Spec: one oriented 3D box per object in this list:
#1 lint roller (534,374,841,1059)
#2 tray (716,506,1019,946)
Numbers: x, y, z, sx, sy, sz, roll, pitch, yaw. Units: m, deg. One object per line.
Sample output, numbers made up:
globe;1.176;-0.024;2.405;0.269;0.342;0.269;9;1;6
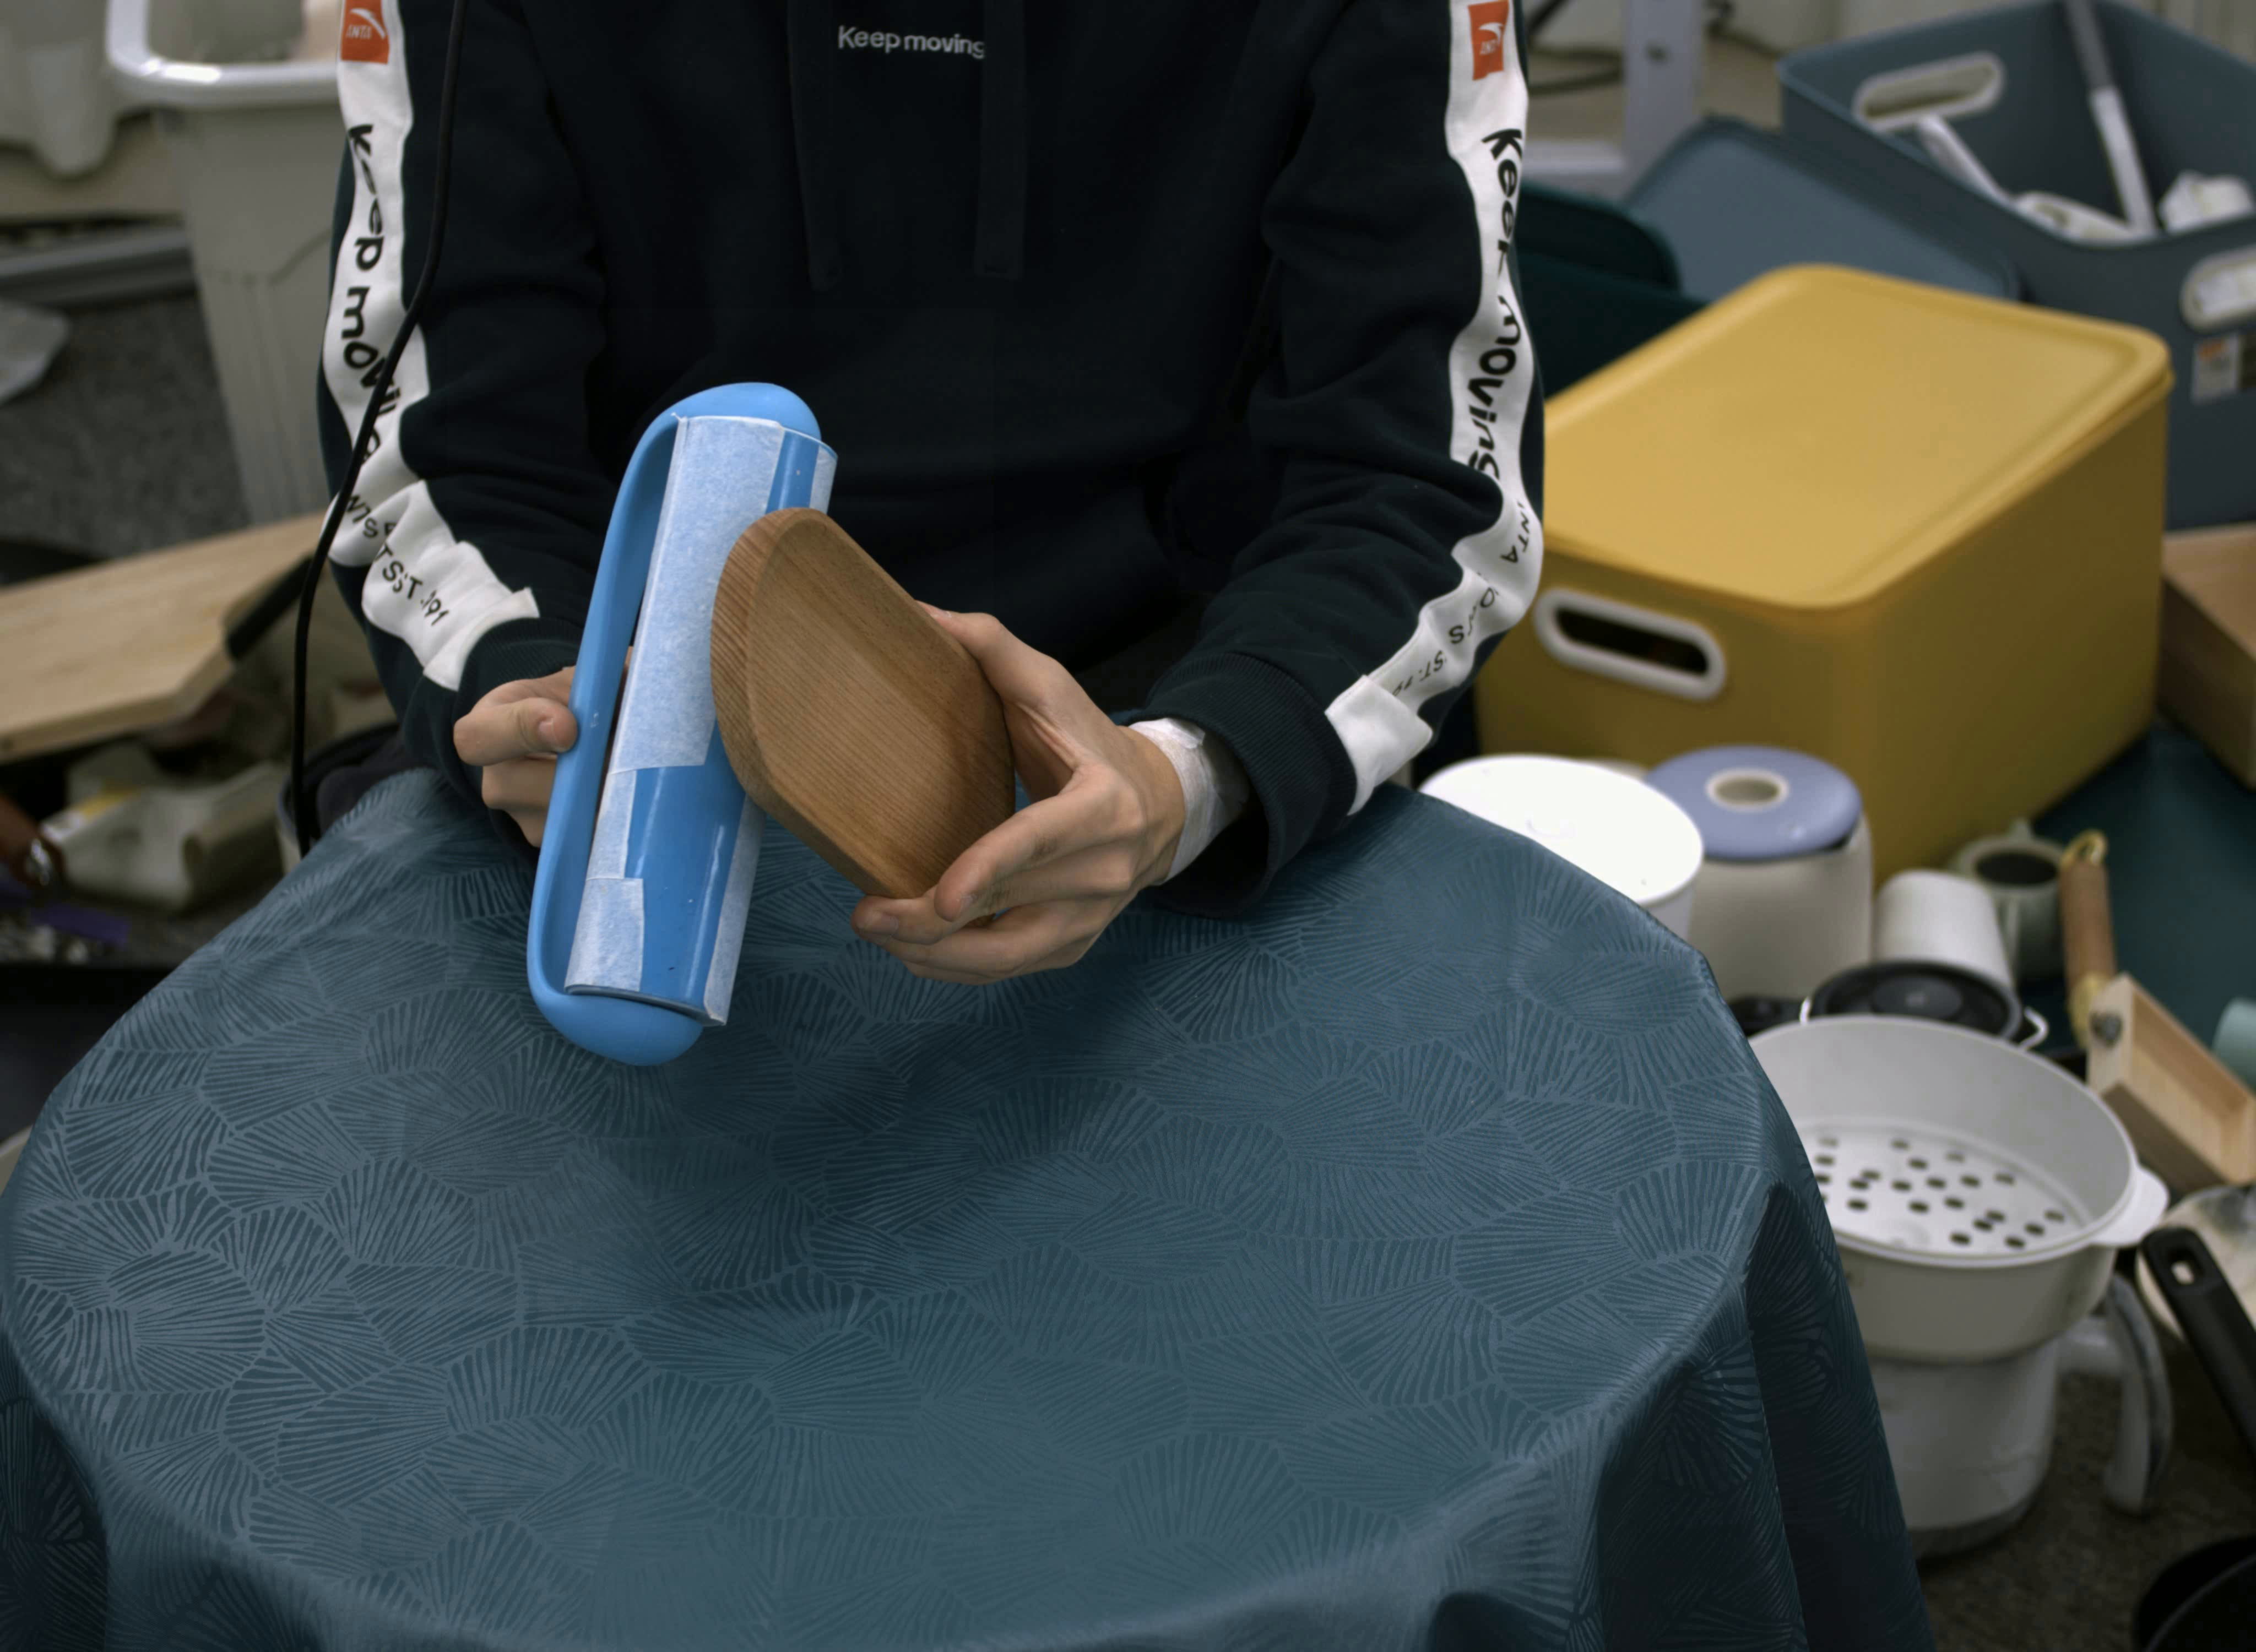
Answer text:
lint roller;-0.157;-0.026;1.879;0.068;0.232;0.178;13;-15;-17
tray;-0.084;-0.031;1.857;0.020;0.103;0.229;0;-19;20
